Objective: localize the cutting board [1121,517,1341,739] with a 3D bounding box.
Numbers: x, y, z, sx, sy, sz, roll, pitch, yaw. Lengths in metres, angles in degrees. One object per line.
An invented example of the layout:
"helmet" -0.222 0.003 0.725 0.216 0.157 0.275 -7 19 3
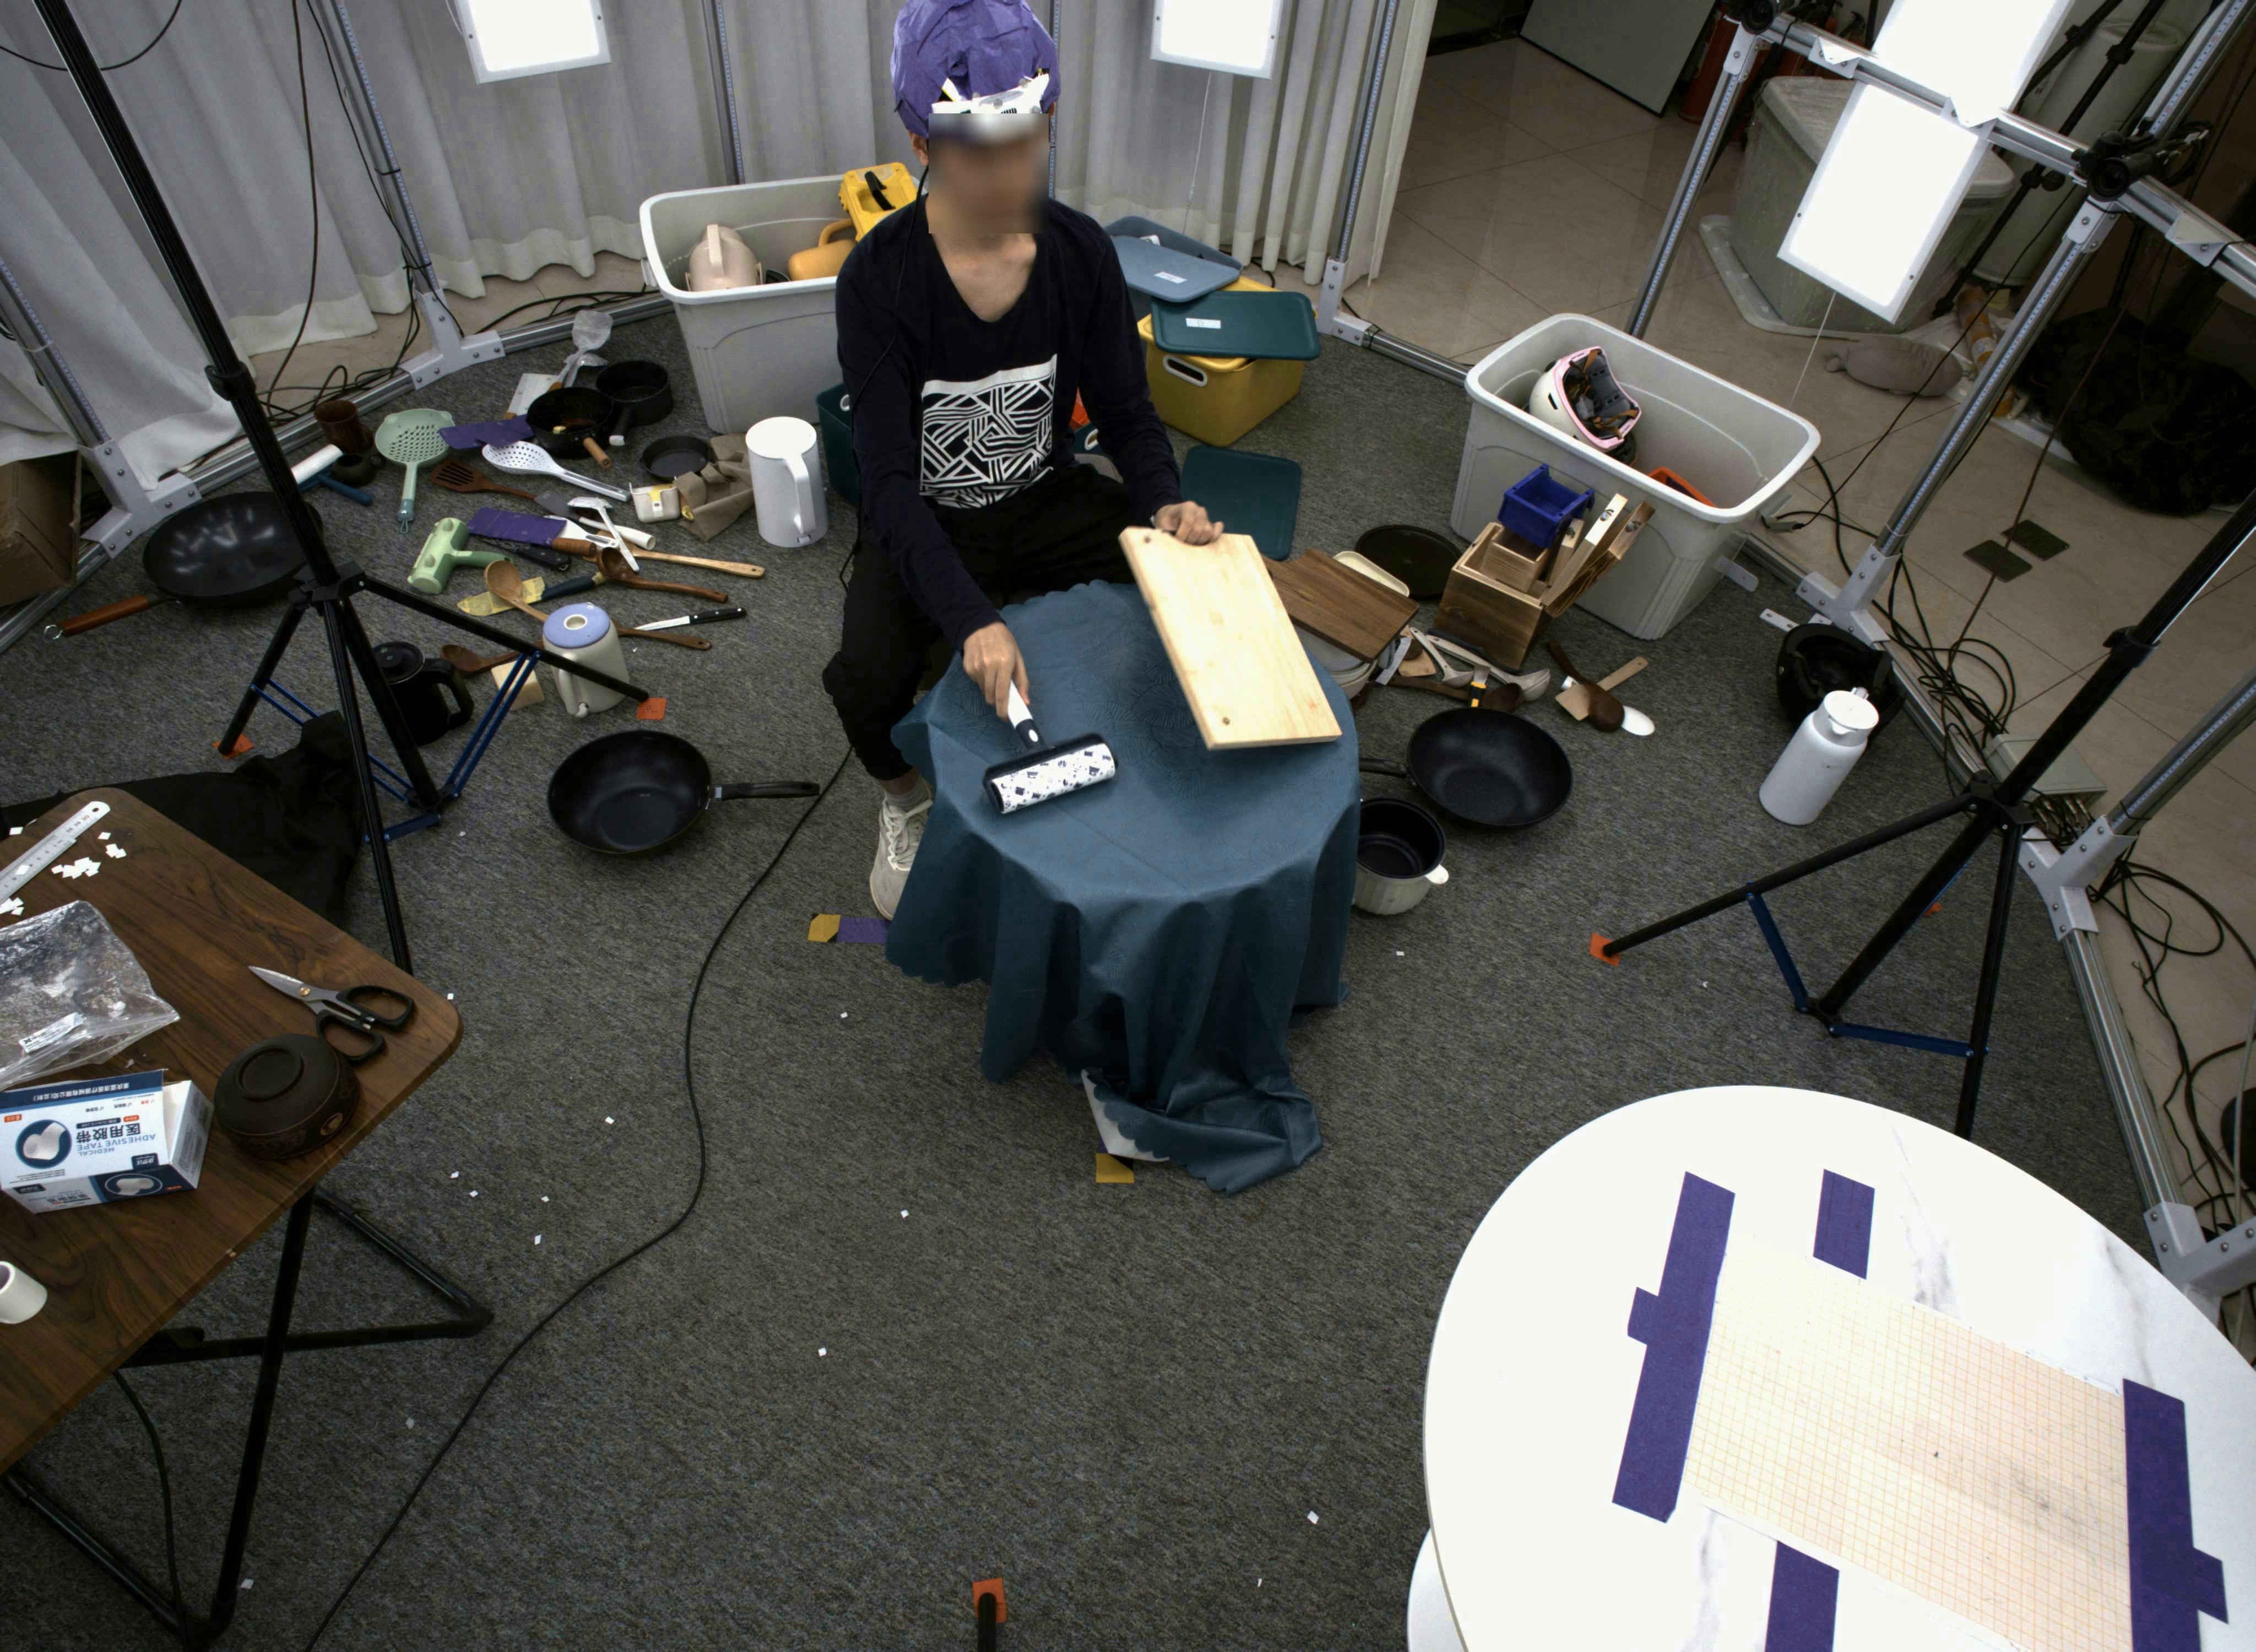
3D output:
"cutting board" 0.142 -0.271 1.772 0.250 0.023 0.354 -5 64 -40

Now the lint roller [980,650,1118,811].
"lint roller" -0.144 -0.147 1.726 0.176 0.049 0.252 -22 62 -16
